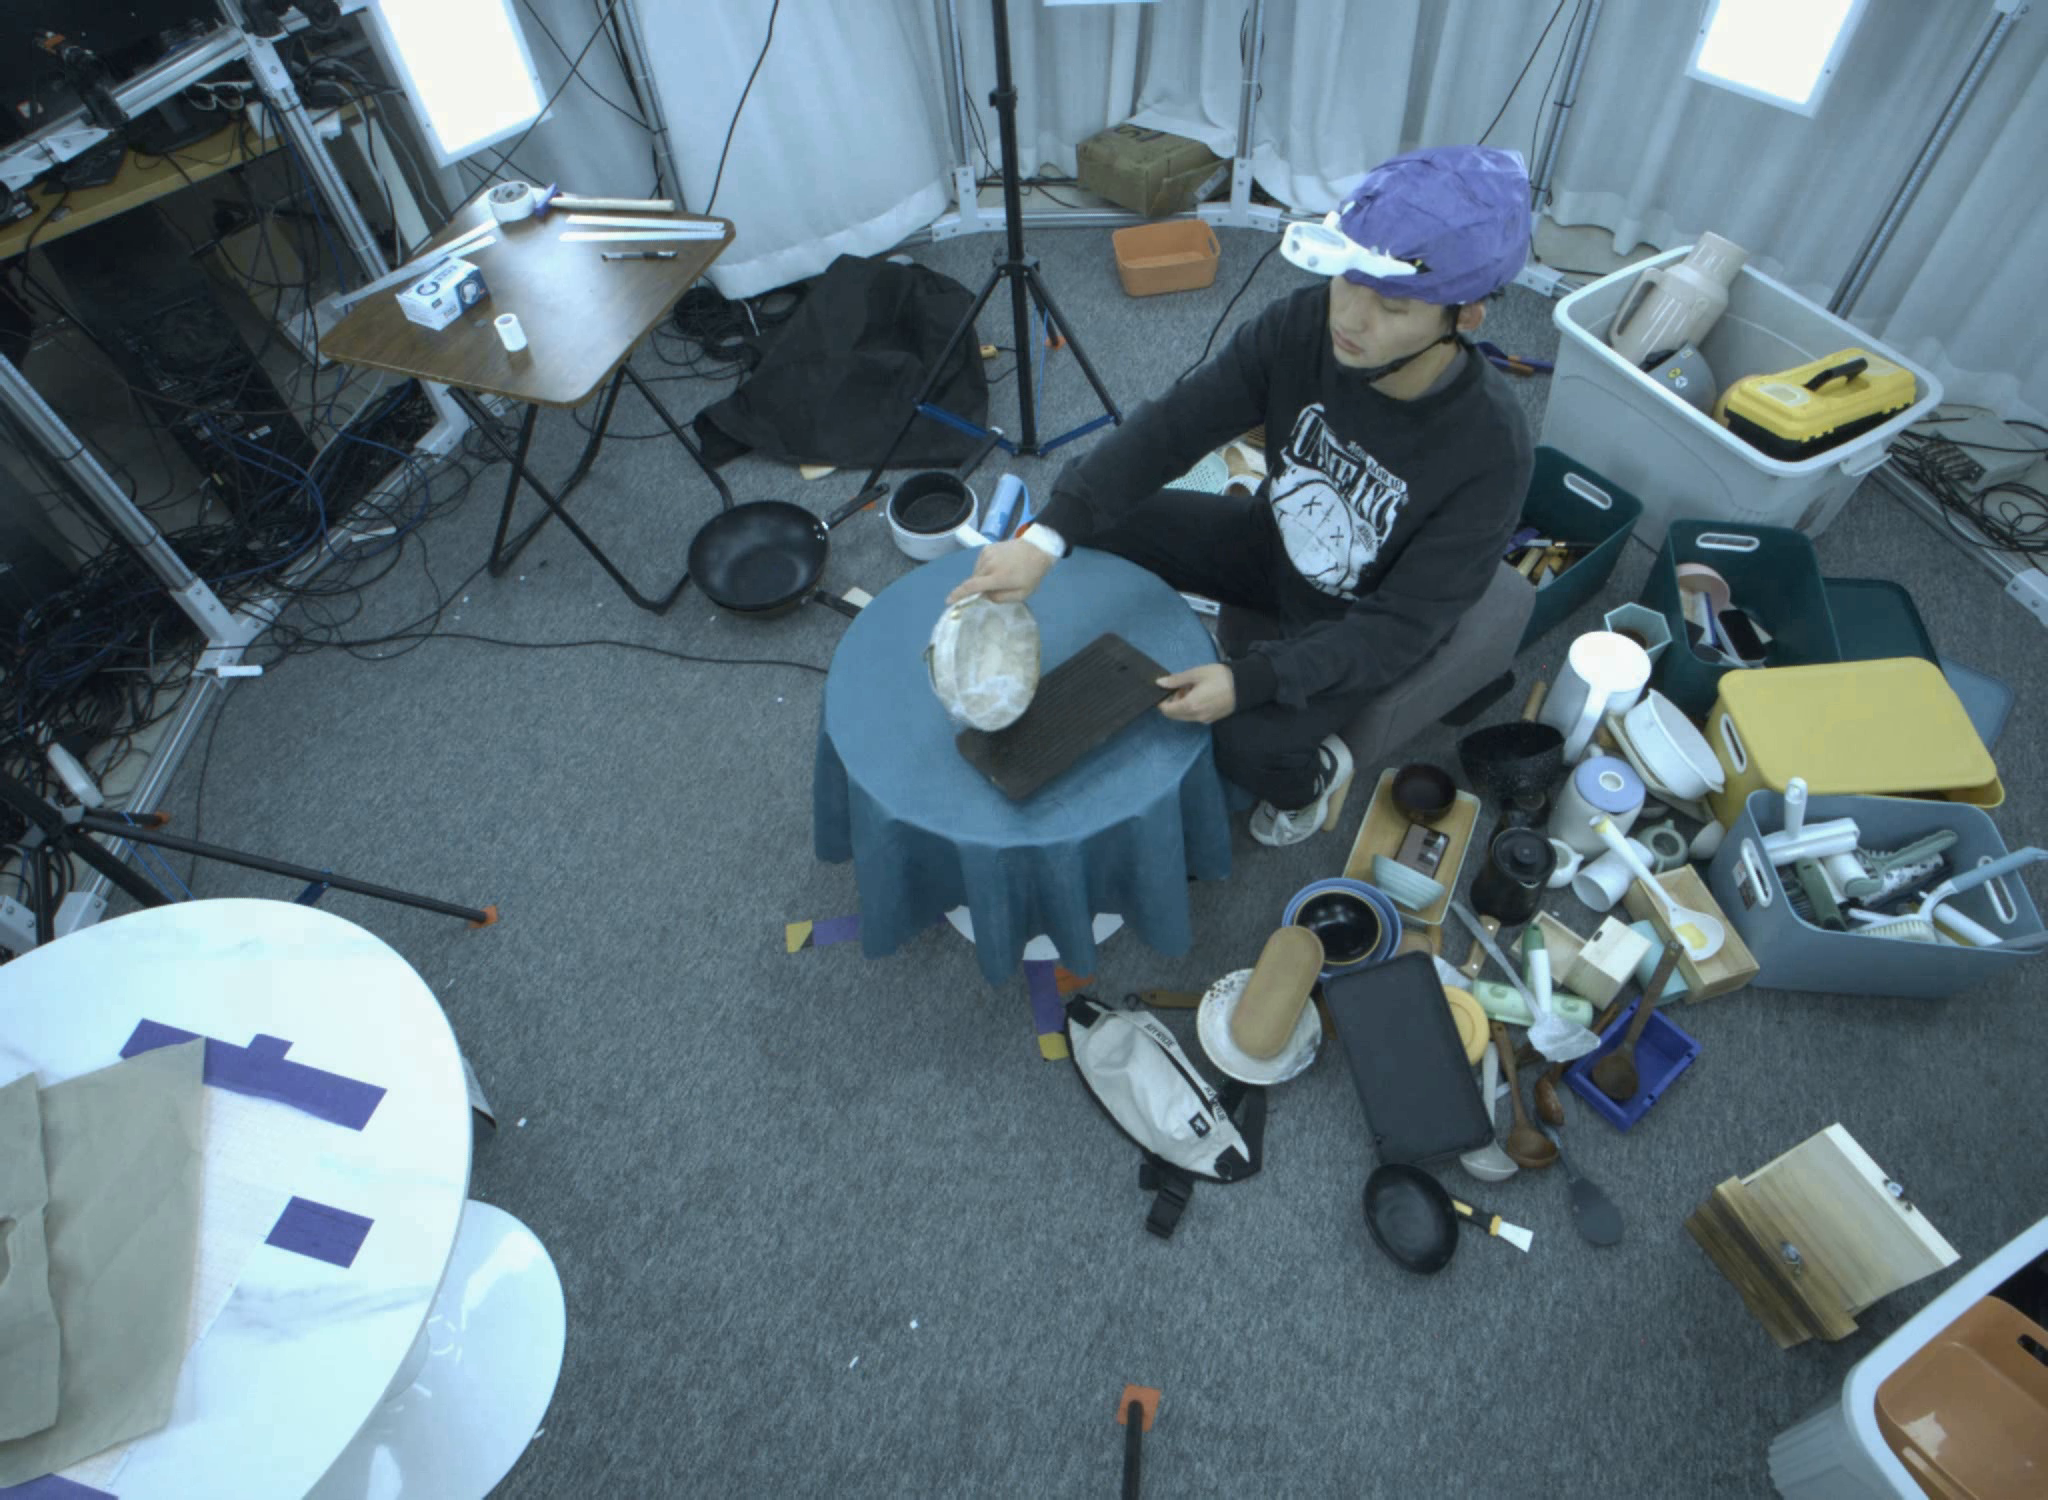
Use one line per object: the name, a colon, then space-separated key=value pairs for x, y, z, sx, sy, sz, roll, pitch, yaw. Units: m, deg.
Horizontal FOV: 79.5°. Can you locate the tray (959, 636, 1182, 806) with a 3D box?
tray: x=0.067 y=-0.045 z=1.790 sx=0.308 sy=0.019 sz=0.166 roll=-35 pitch=51 yaw=-17

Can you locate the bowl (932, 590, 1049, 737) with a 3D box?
bowl: x=-0.061 y=-0.124 z=1.746 sx=0.092 sy=0.219 sz=0.215 roll=6 pitch=52 yaw=36
